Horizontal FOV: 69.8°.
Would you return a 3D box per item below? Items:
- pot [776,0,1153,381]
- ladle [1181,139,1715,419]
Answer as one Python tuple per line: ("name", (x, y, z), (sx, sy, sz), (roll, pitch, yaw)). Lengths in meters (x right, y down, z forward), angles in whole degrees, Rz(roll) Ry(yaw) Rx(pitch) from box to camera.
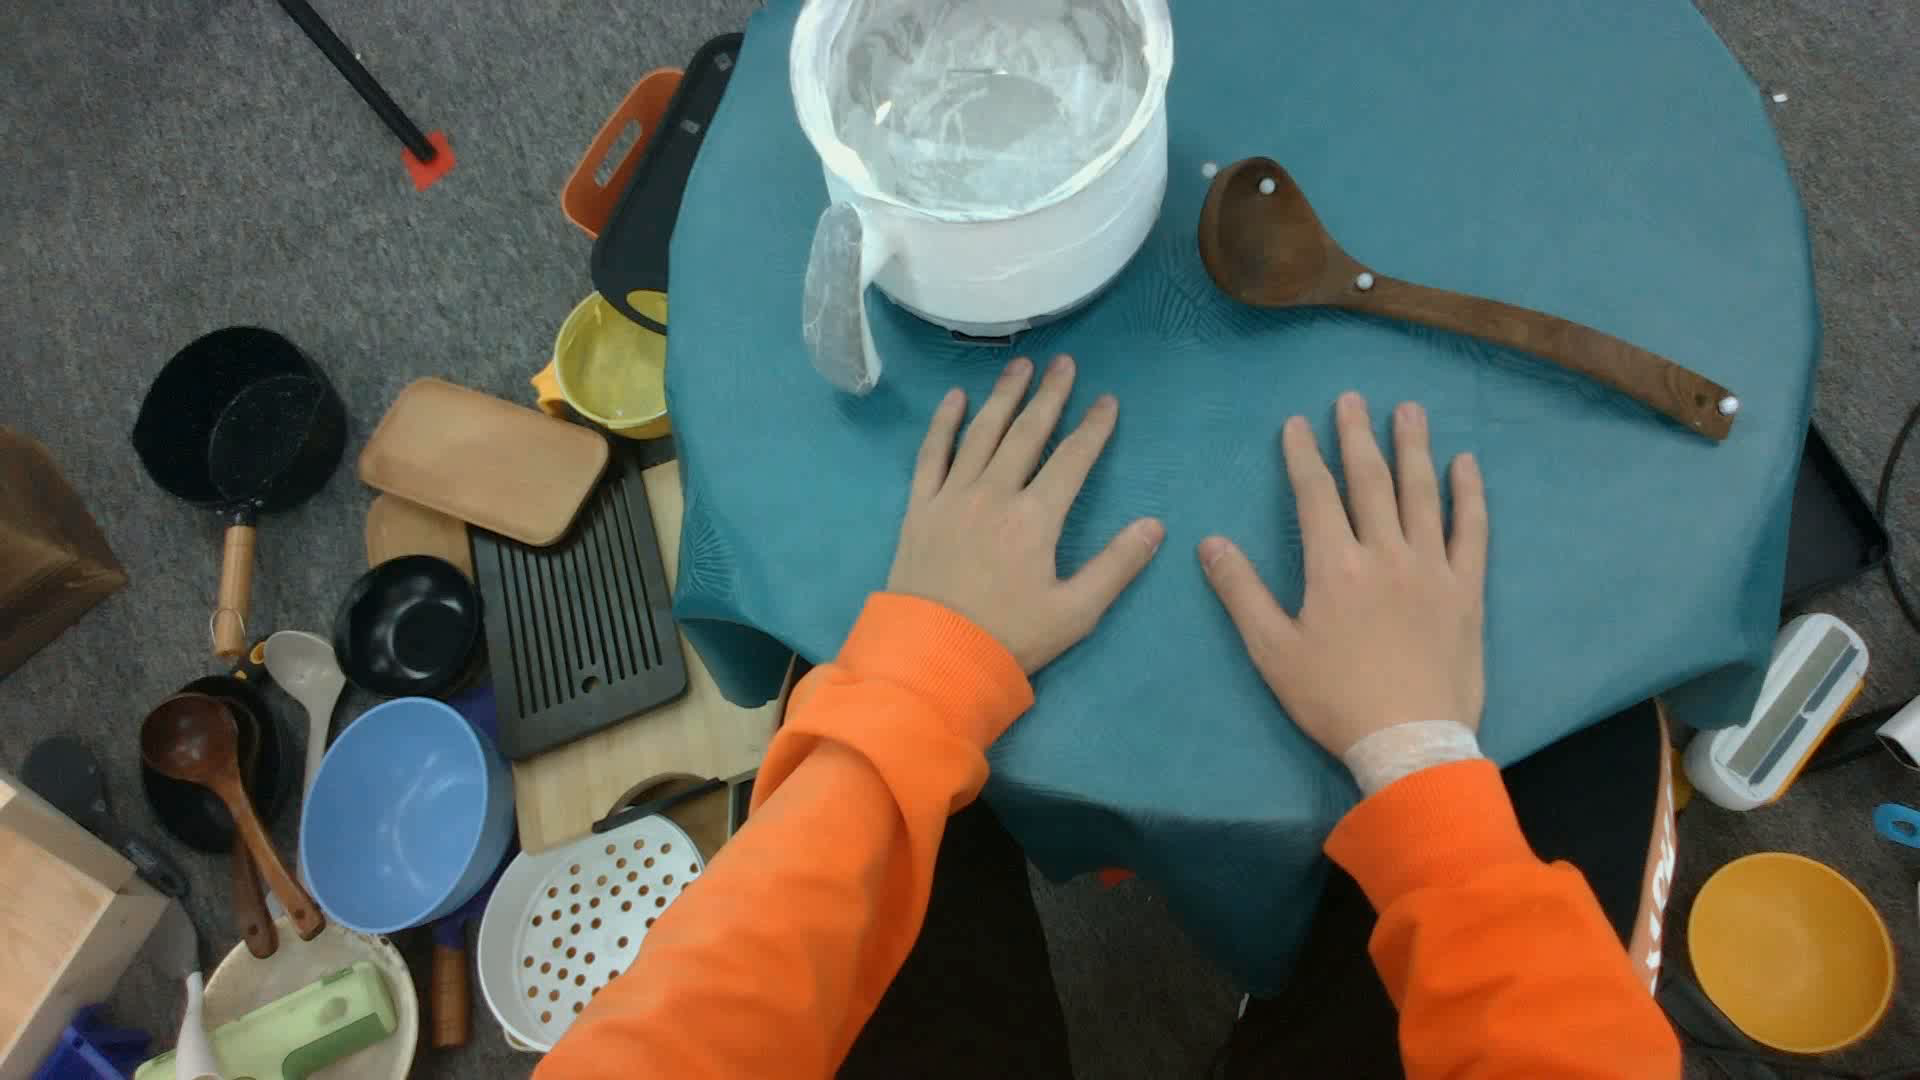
("pot", (-0.008, -0.190, 0.692), (0.179, 0.136, 0.234), (32, 78, 15))
("ladle", (0.242, -0.126, 0.679), (0.274, 0.071, 0.076), (21, 79, 13))
